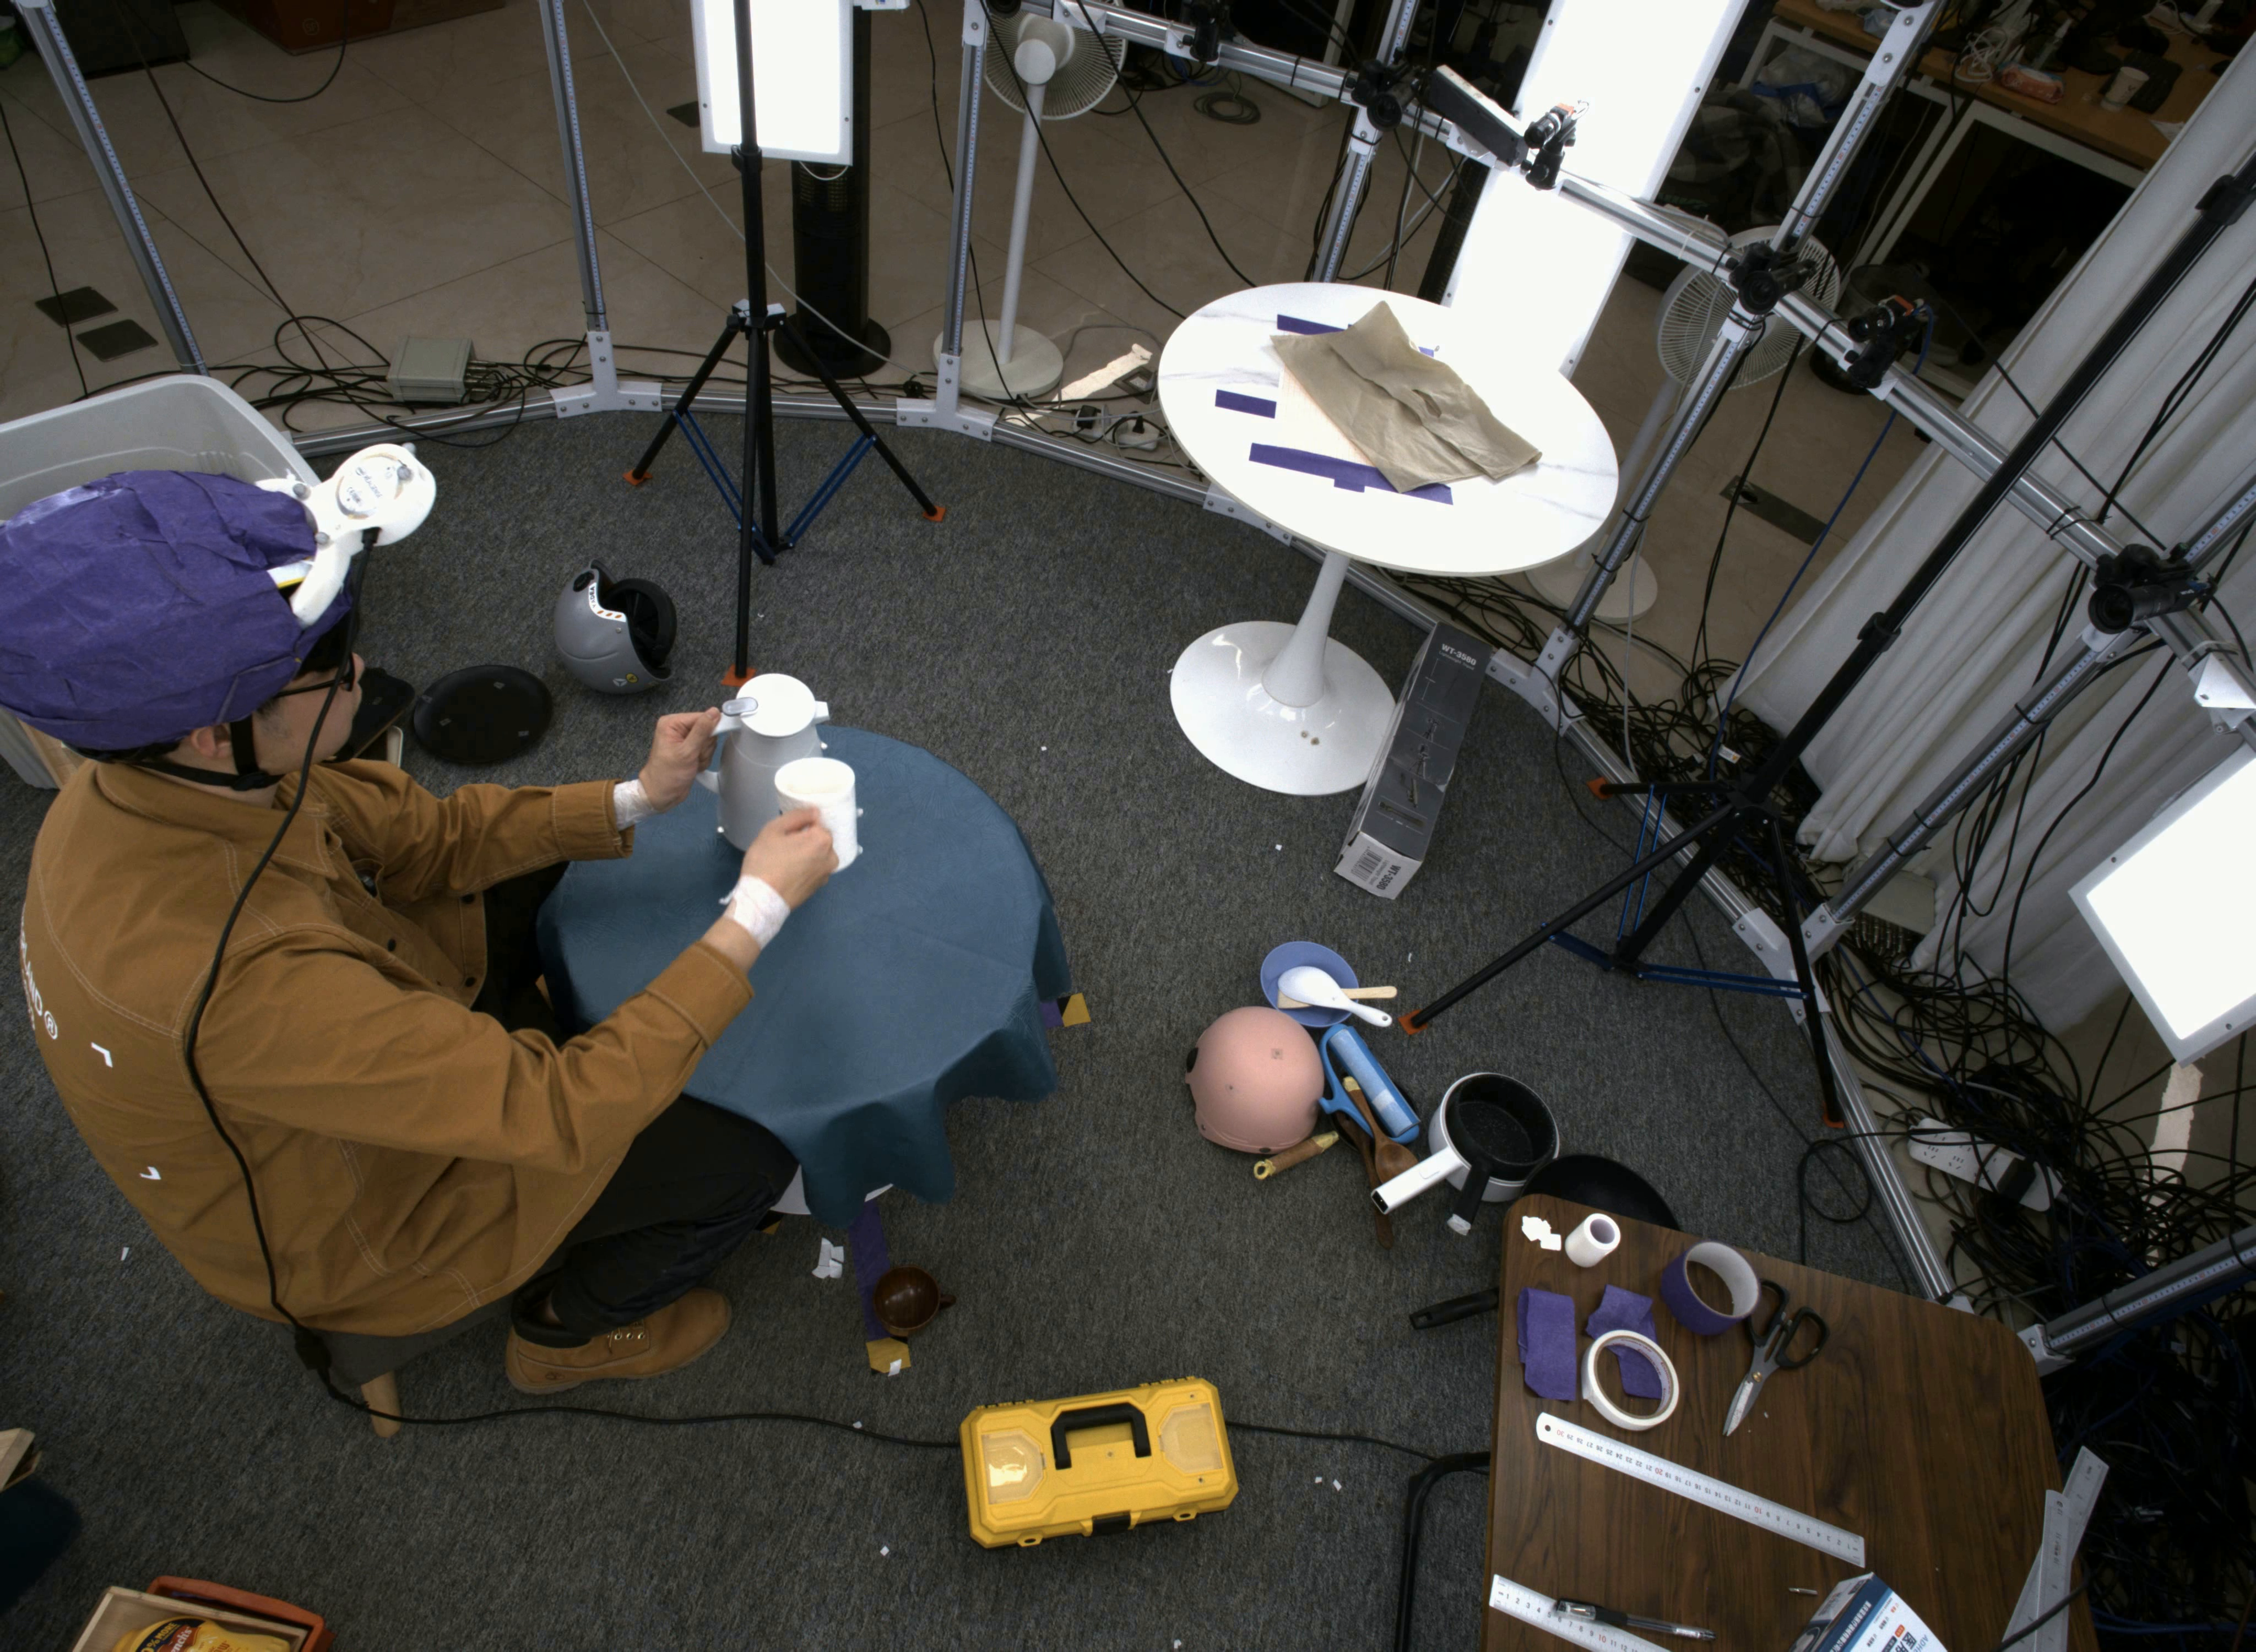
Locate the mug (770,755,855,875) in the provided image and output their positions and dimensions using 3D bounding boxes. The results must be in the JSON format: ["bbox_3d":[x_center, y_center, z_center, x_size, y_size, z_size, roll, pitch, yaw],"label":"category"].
[{"bbox_3d":[-0.340,-0.003,1.392,0.084,0.105,0.115,1,33,-6],"label":"mug"}]

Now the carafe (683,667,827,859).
[{"bbox_3d":[-0.455,-0.080,1.577,0.169,0.252,0.130,-8,61,-21],"label":"carafe"}]
